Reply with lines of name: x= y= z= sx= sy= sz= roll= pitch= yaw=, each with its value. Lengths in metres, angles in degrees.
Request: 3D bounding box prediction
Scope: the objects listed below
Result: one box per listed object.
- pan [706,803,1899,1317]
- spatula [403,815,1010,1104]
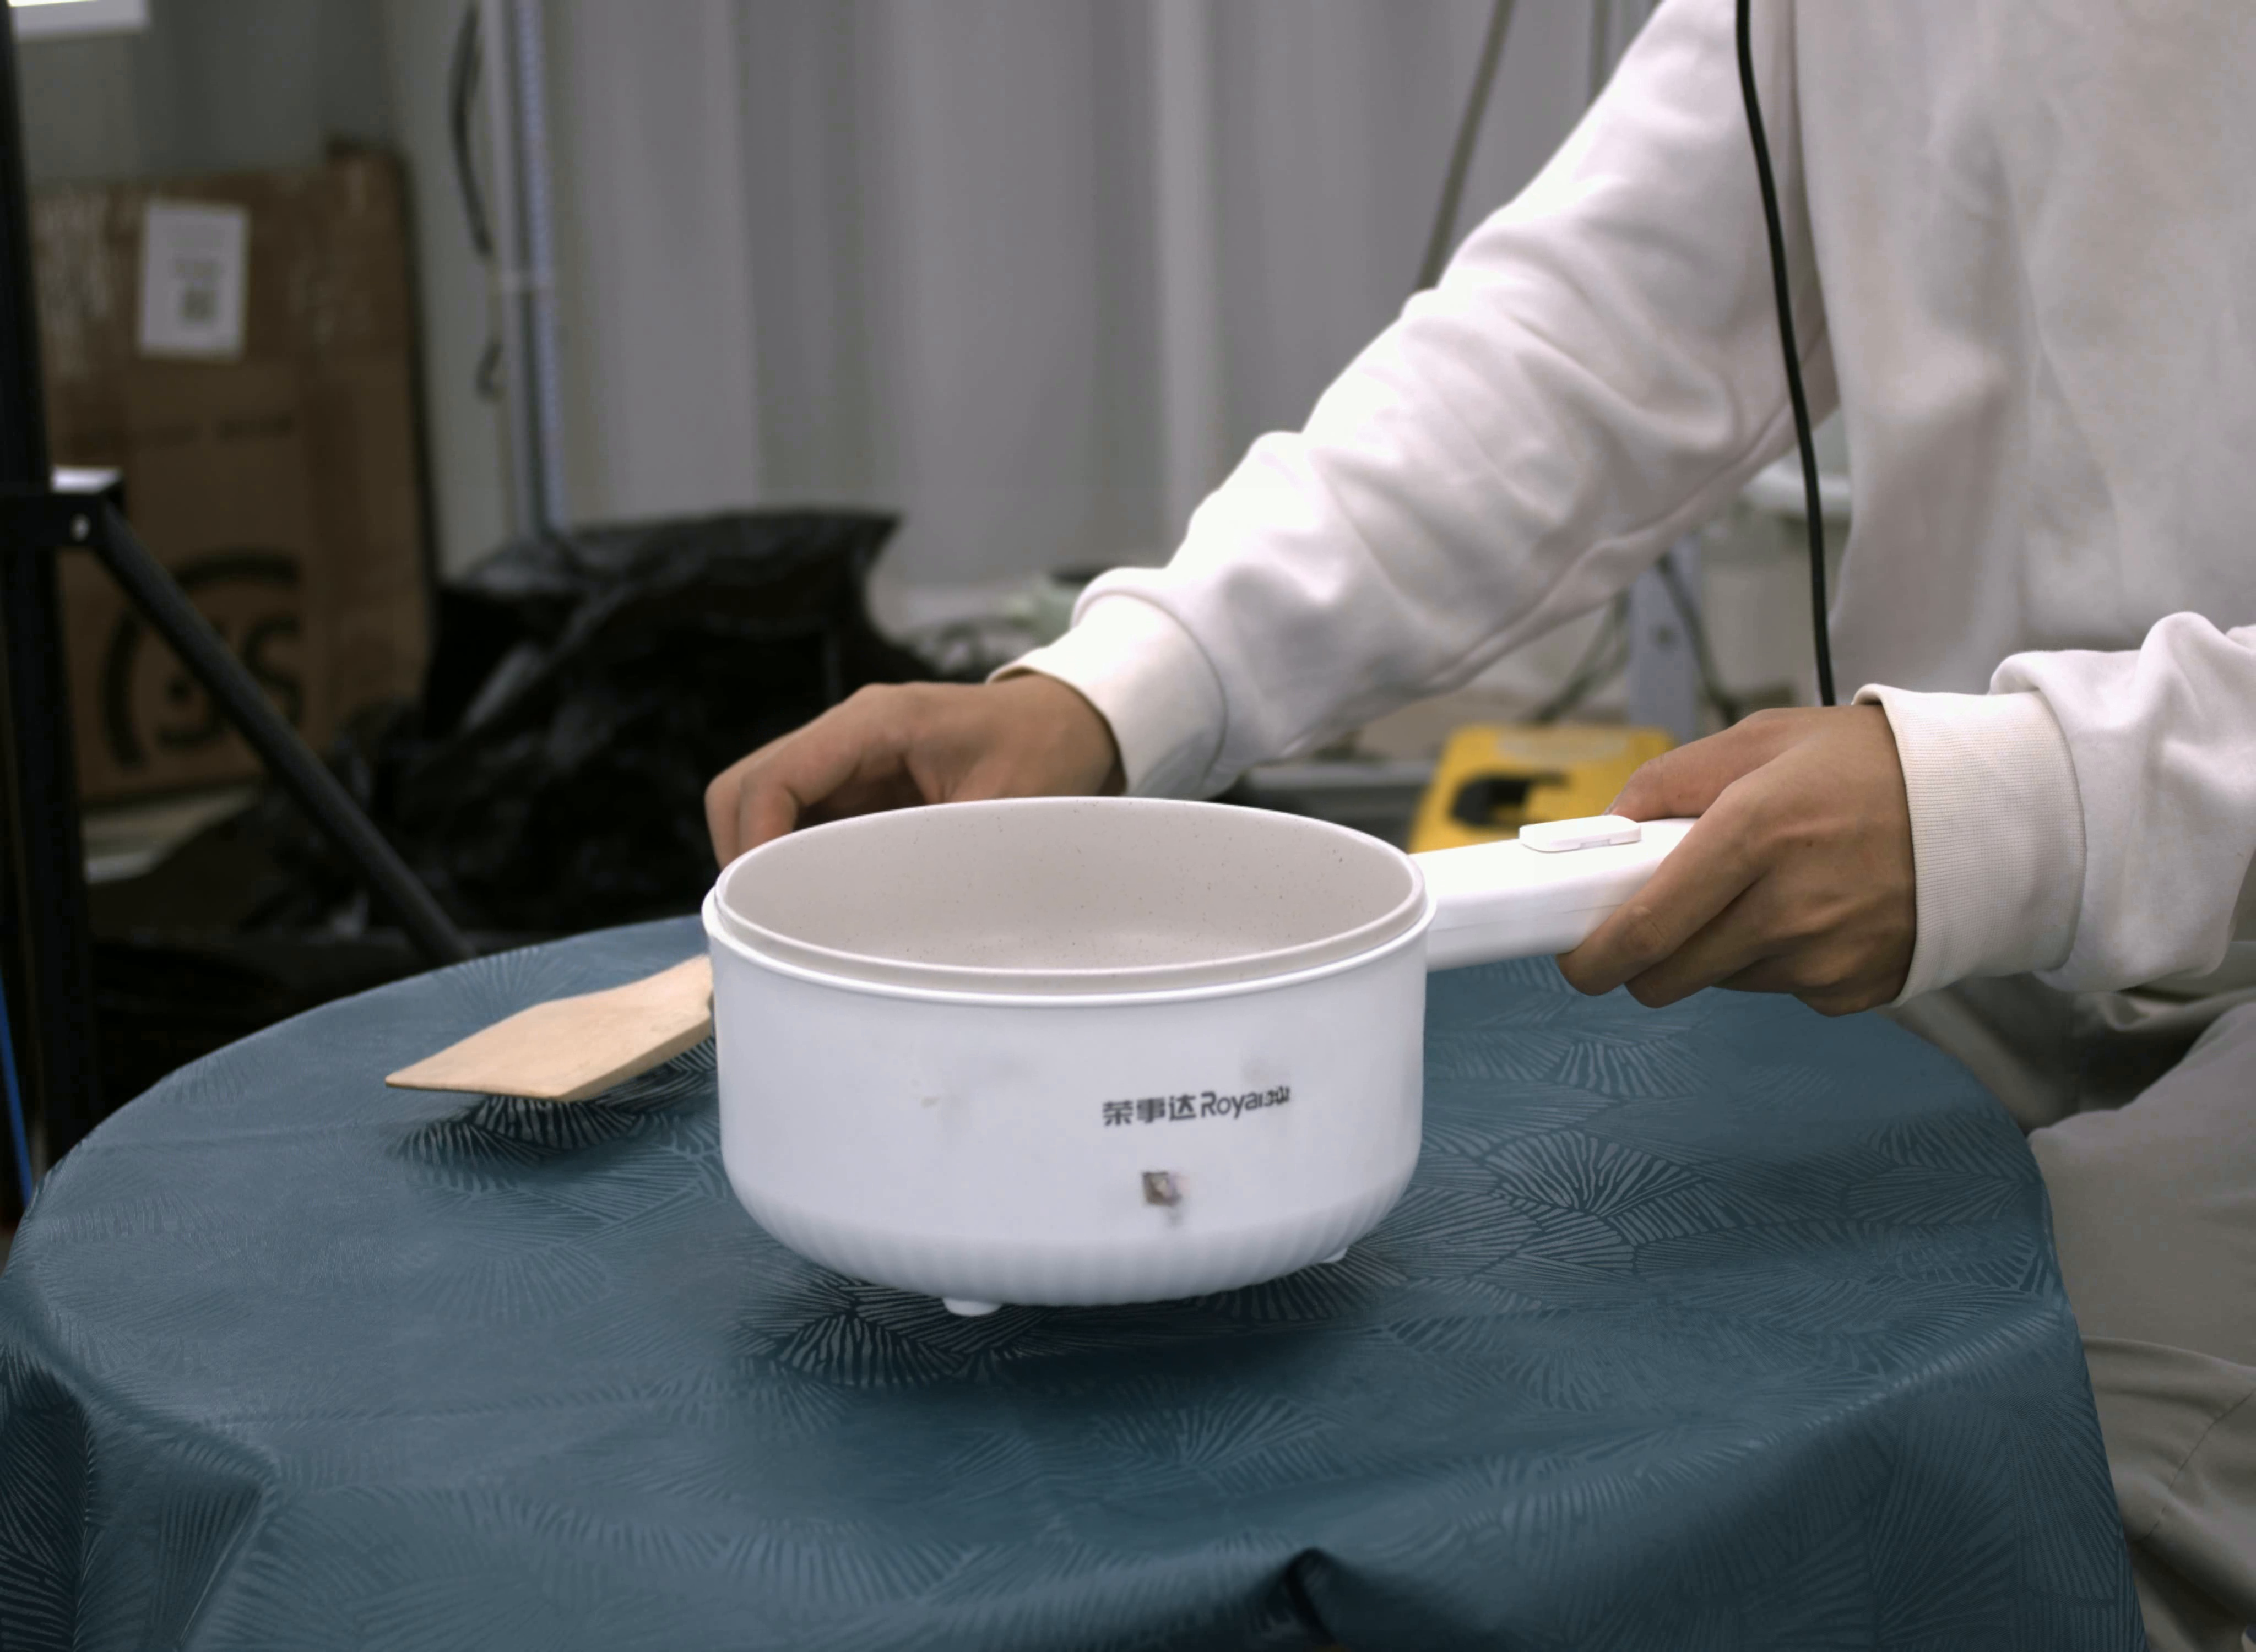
pan: x=0.054 y=0.058 z=1.490 sx=0.347 sy=0.102 sz=0.205 roll=-6 pitch=13 yaw=-22
spatula: x=-0.123 y=0.041 z=1.730 sx=0.073 sy=0.010 sz=0.288 roll=2 pitch=18 yaw=32
